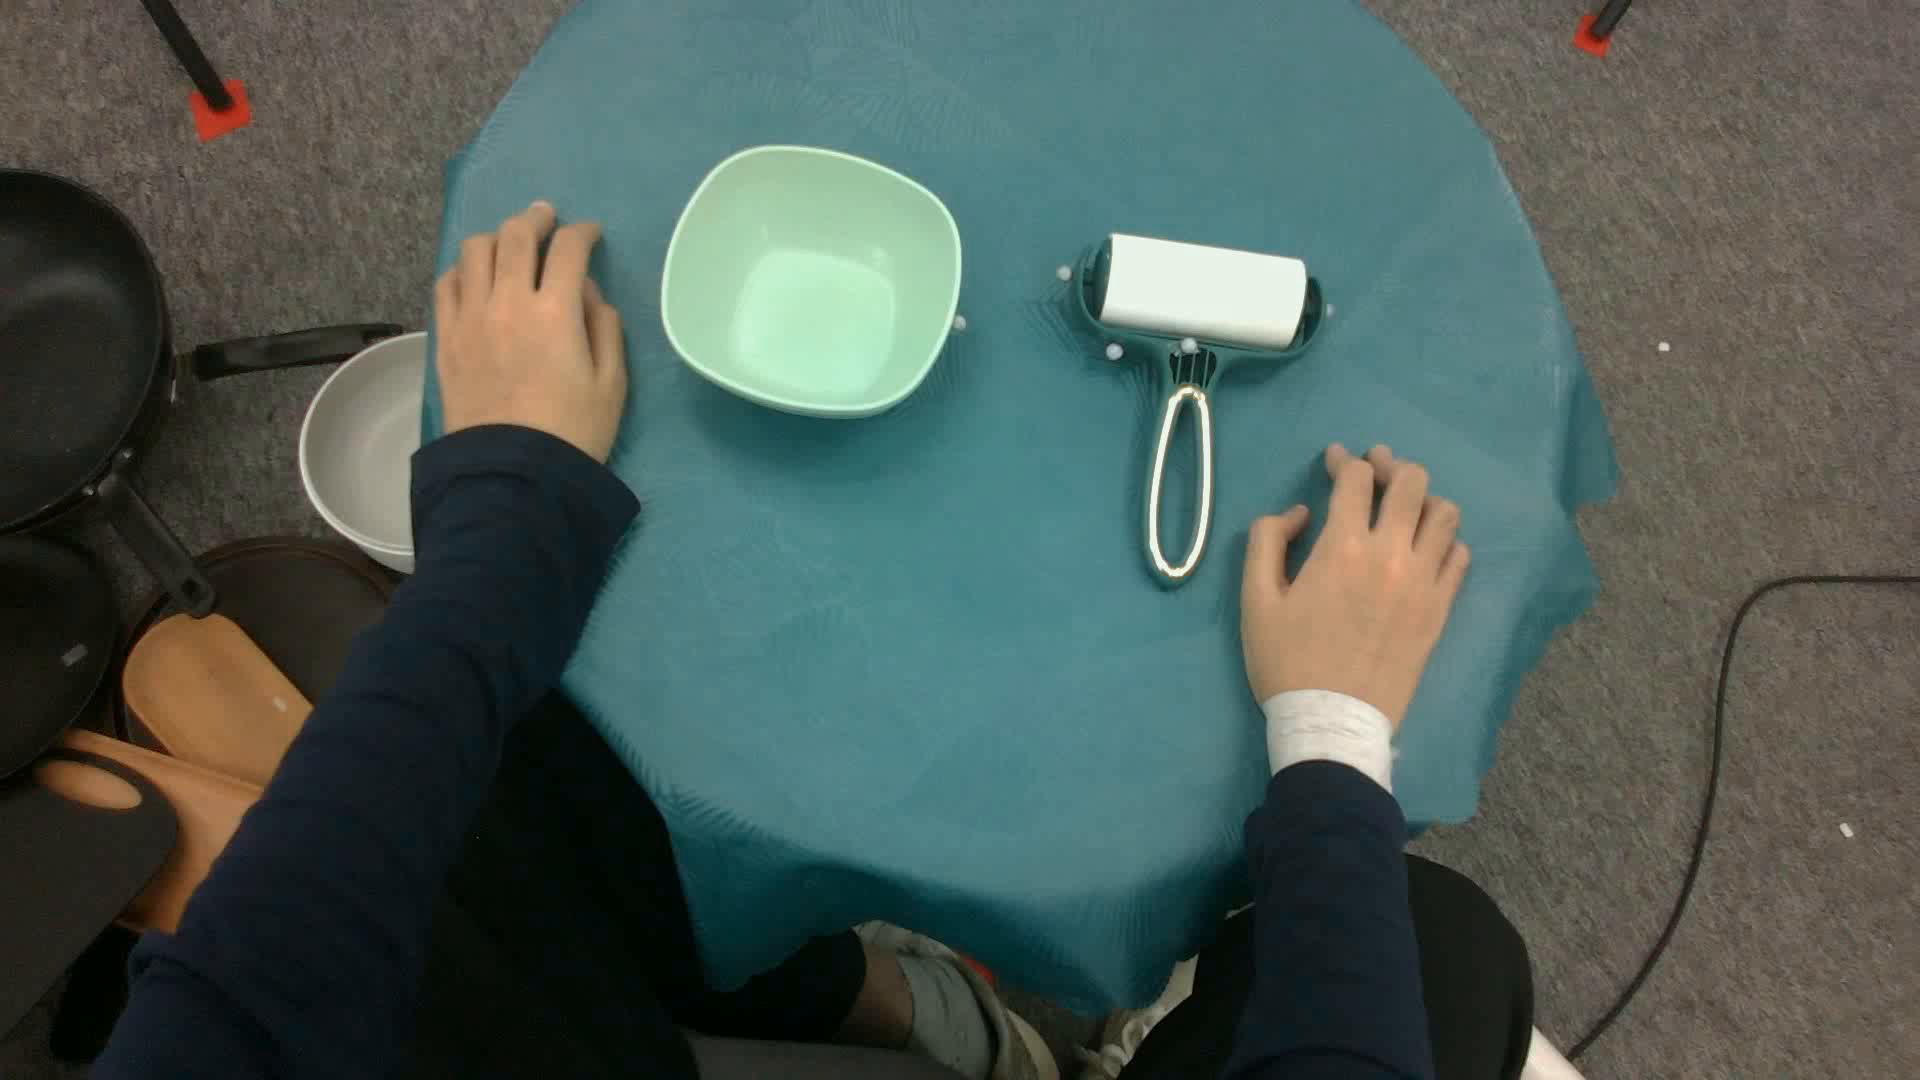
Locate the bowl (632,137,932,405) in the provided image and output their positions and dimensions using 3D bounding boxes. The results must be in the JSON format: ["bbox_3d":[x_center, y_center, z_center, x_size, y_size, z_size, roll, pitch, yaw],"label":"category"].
[{"bbox_3d":[-0.087,-0.123,0.683,0.151,0.058,0.152,3,68,-8],"label":"bowl"}]

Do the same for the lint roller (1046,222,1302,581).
[{"bbox_3d":[0.104,-0.071,0.698,0.134,0.048,0.180,7,73,-5],"label":"lint roller"}]
